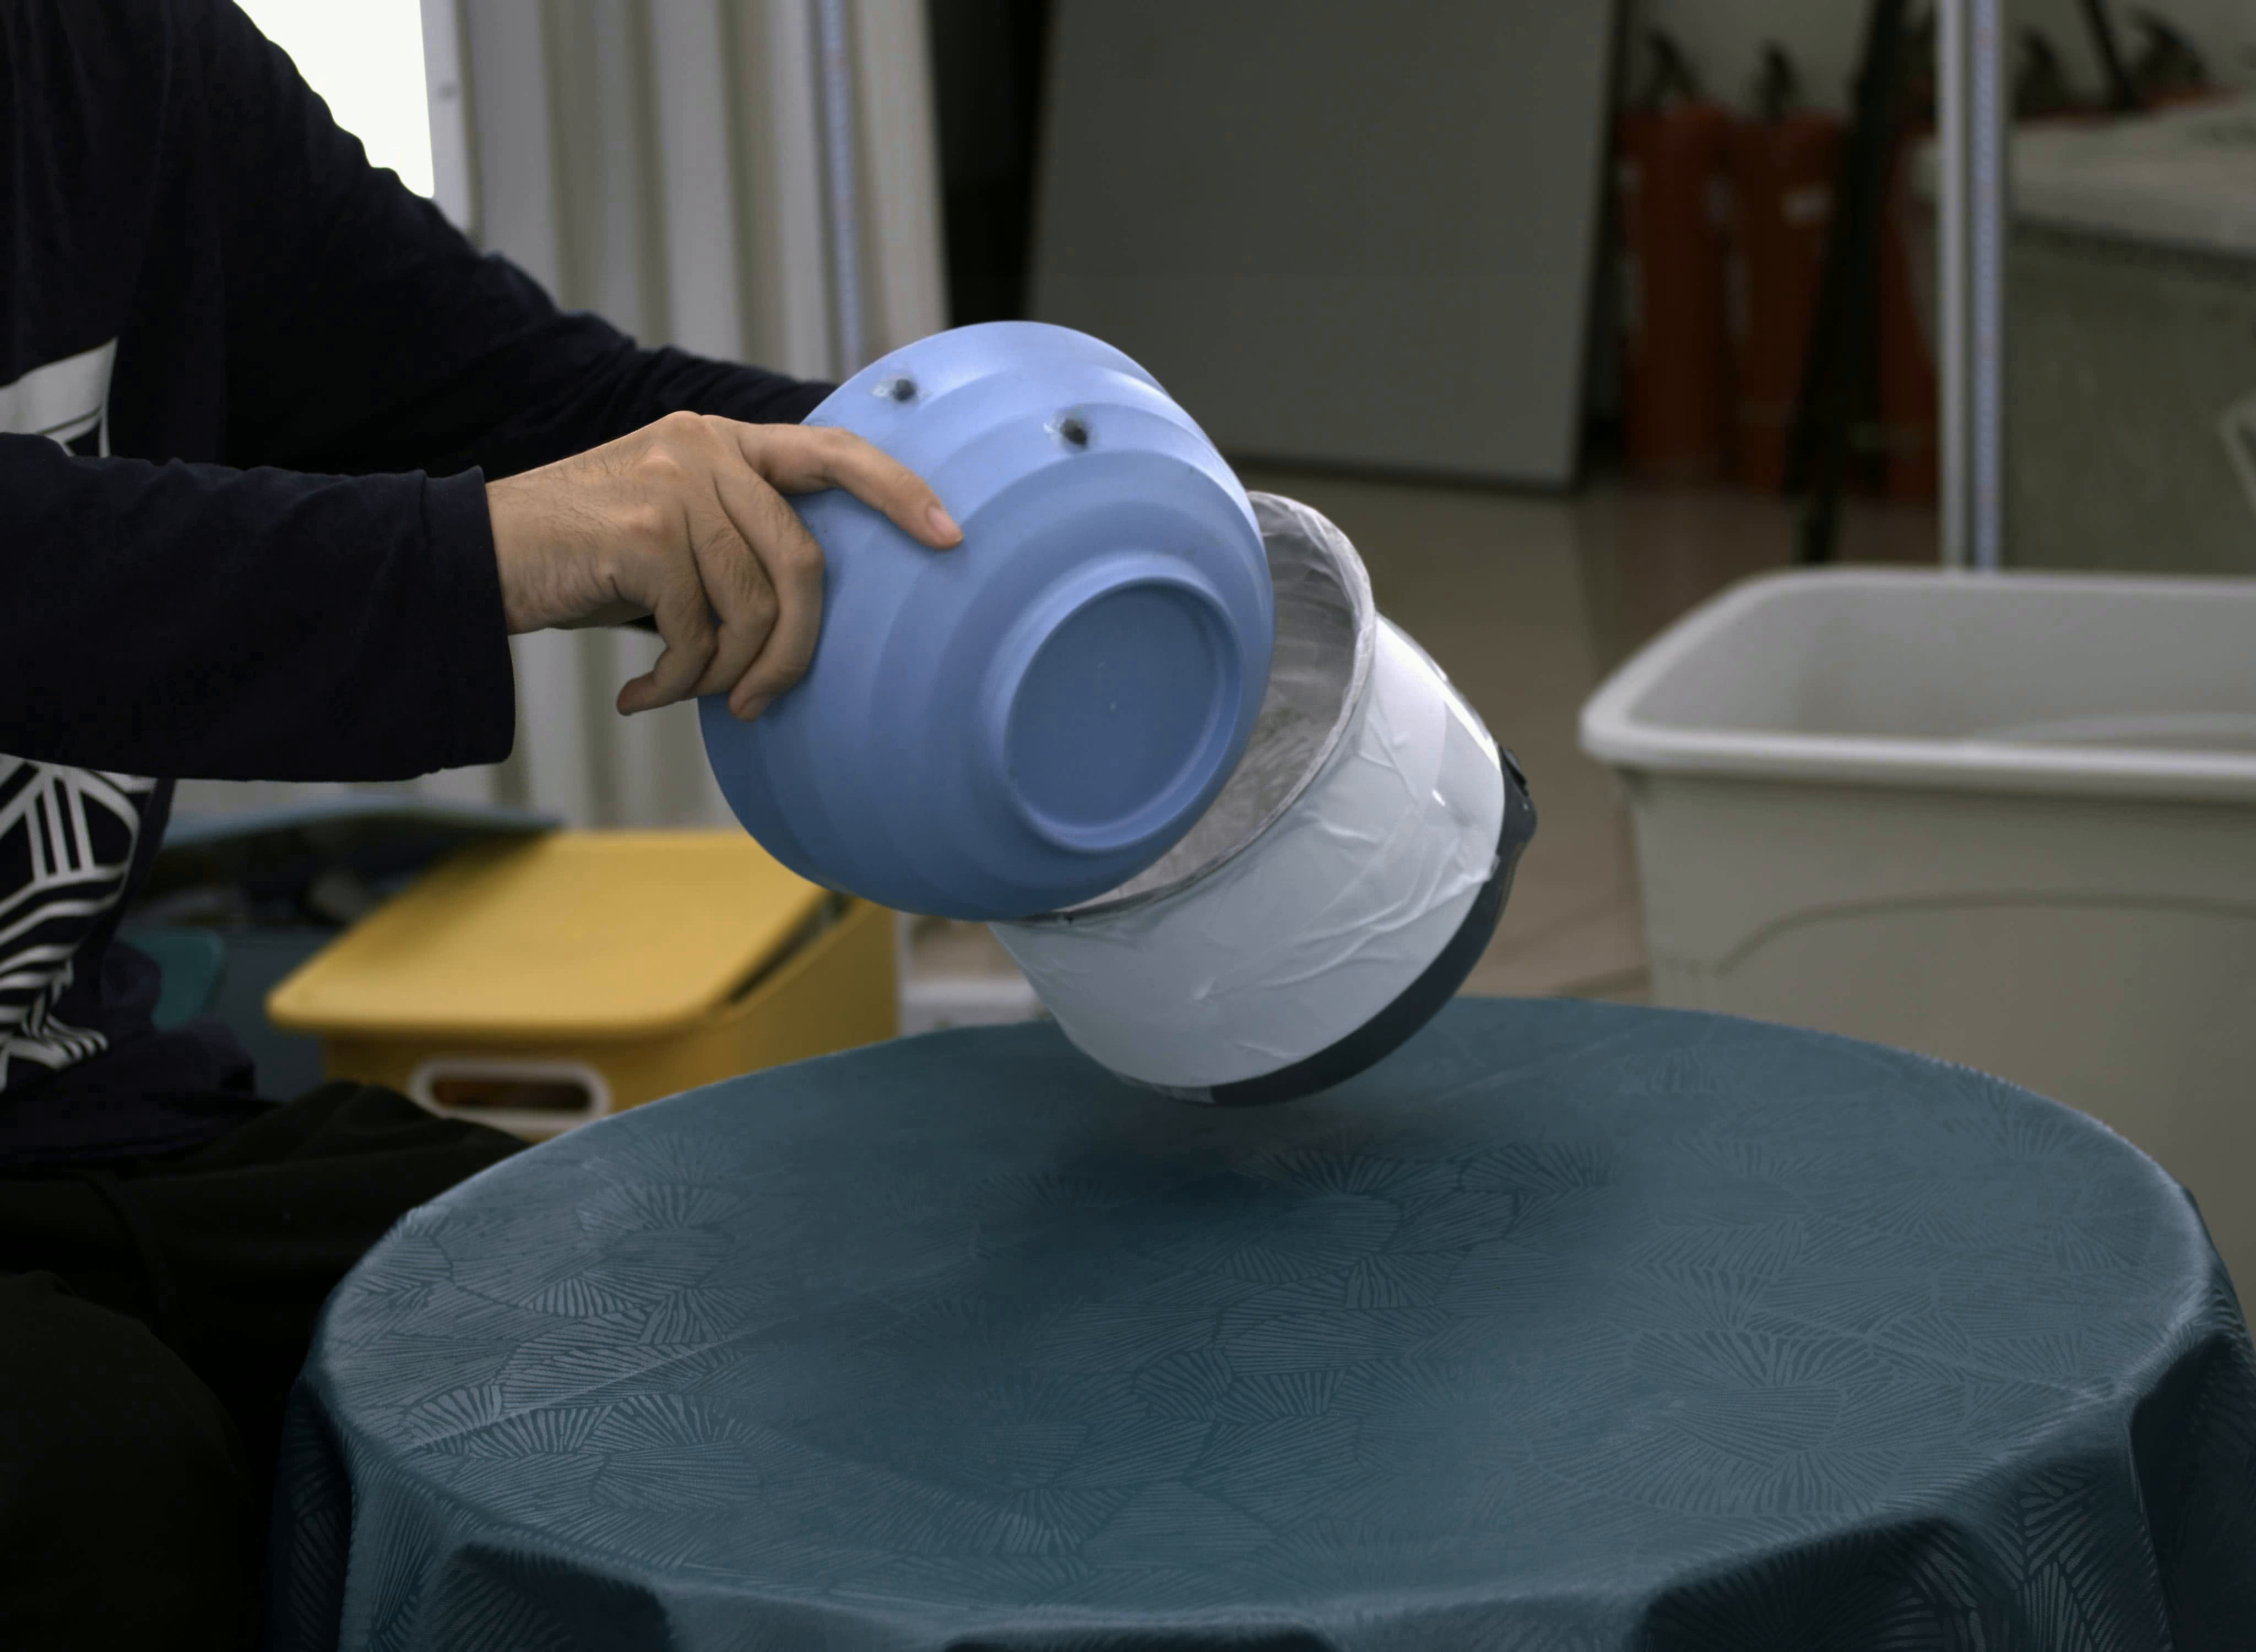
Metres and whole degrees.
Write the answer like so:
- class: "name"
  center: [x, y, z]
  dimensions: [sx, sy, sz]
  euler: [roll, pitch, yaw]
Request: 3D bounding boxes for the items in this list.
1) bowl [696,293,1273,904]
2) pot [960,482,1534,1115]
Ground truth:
- class: "bowl"
  center: [-0.028, -0.056, 1.675]
  dimensions: [0.192, 0.198, 0.096]
  euler: [-12, 31, -31]
- class: "pot"
  center: [0.025, -0.022, 1.817]
  dimensions: [0.178, 0.135, 0.236]
  euler: [-31, 42, 8]
